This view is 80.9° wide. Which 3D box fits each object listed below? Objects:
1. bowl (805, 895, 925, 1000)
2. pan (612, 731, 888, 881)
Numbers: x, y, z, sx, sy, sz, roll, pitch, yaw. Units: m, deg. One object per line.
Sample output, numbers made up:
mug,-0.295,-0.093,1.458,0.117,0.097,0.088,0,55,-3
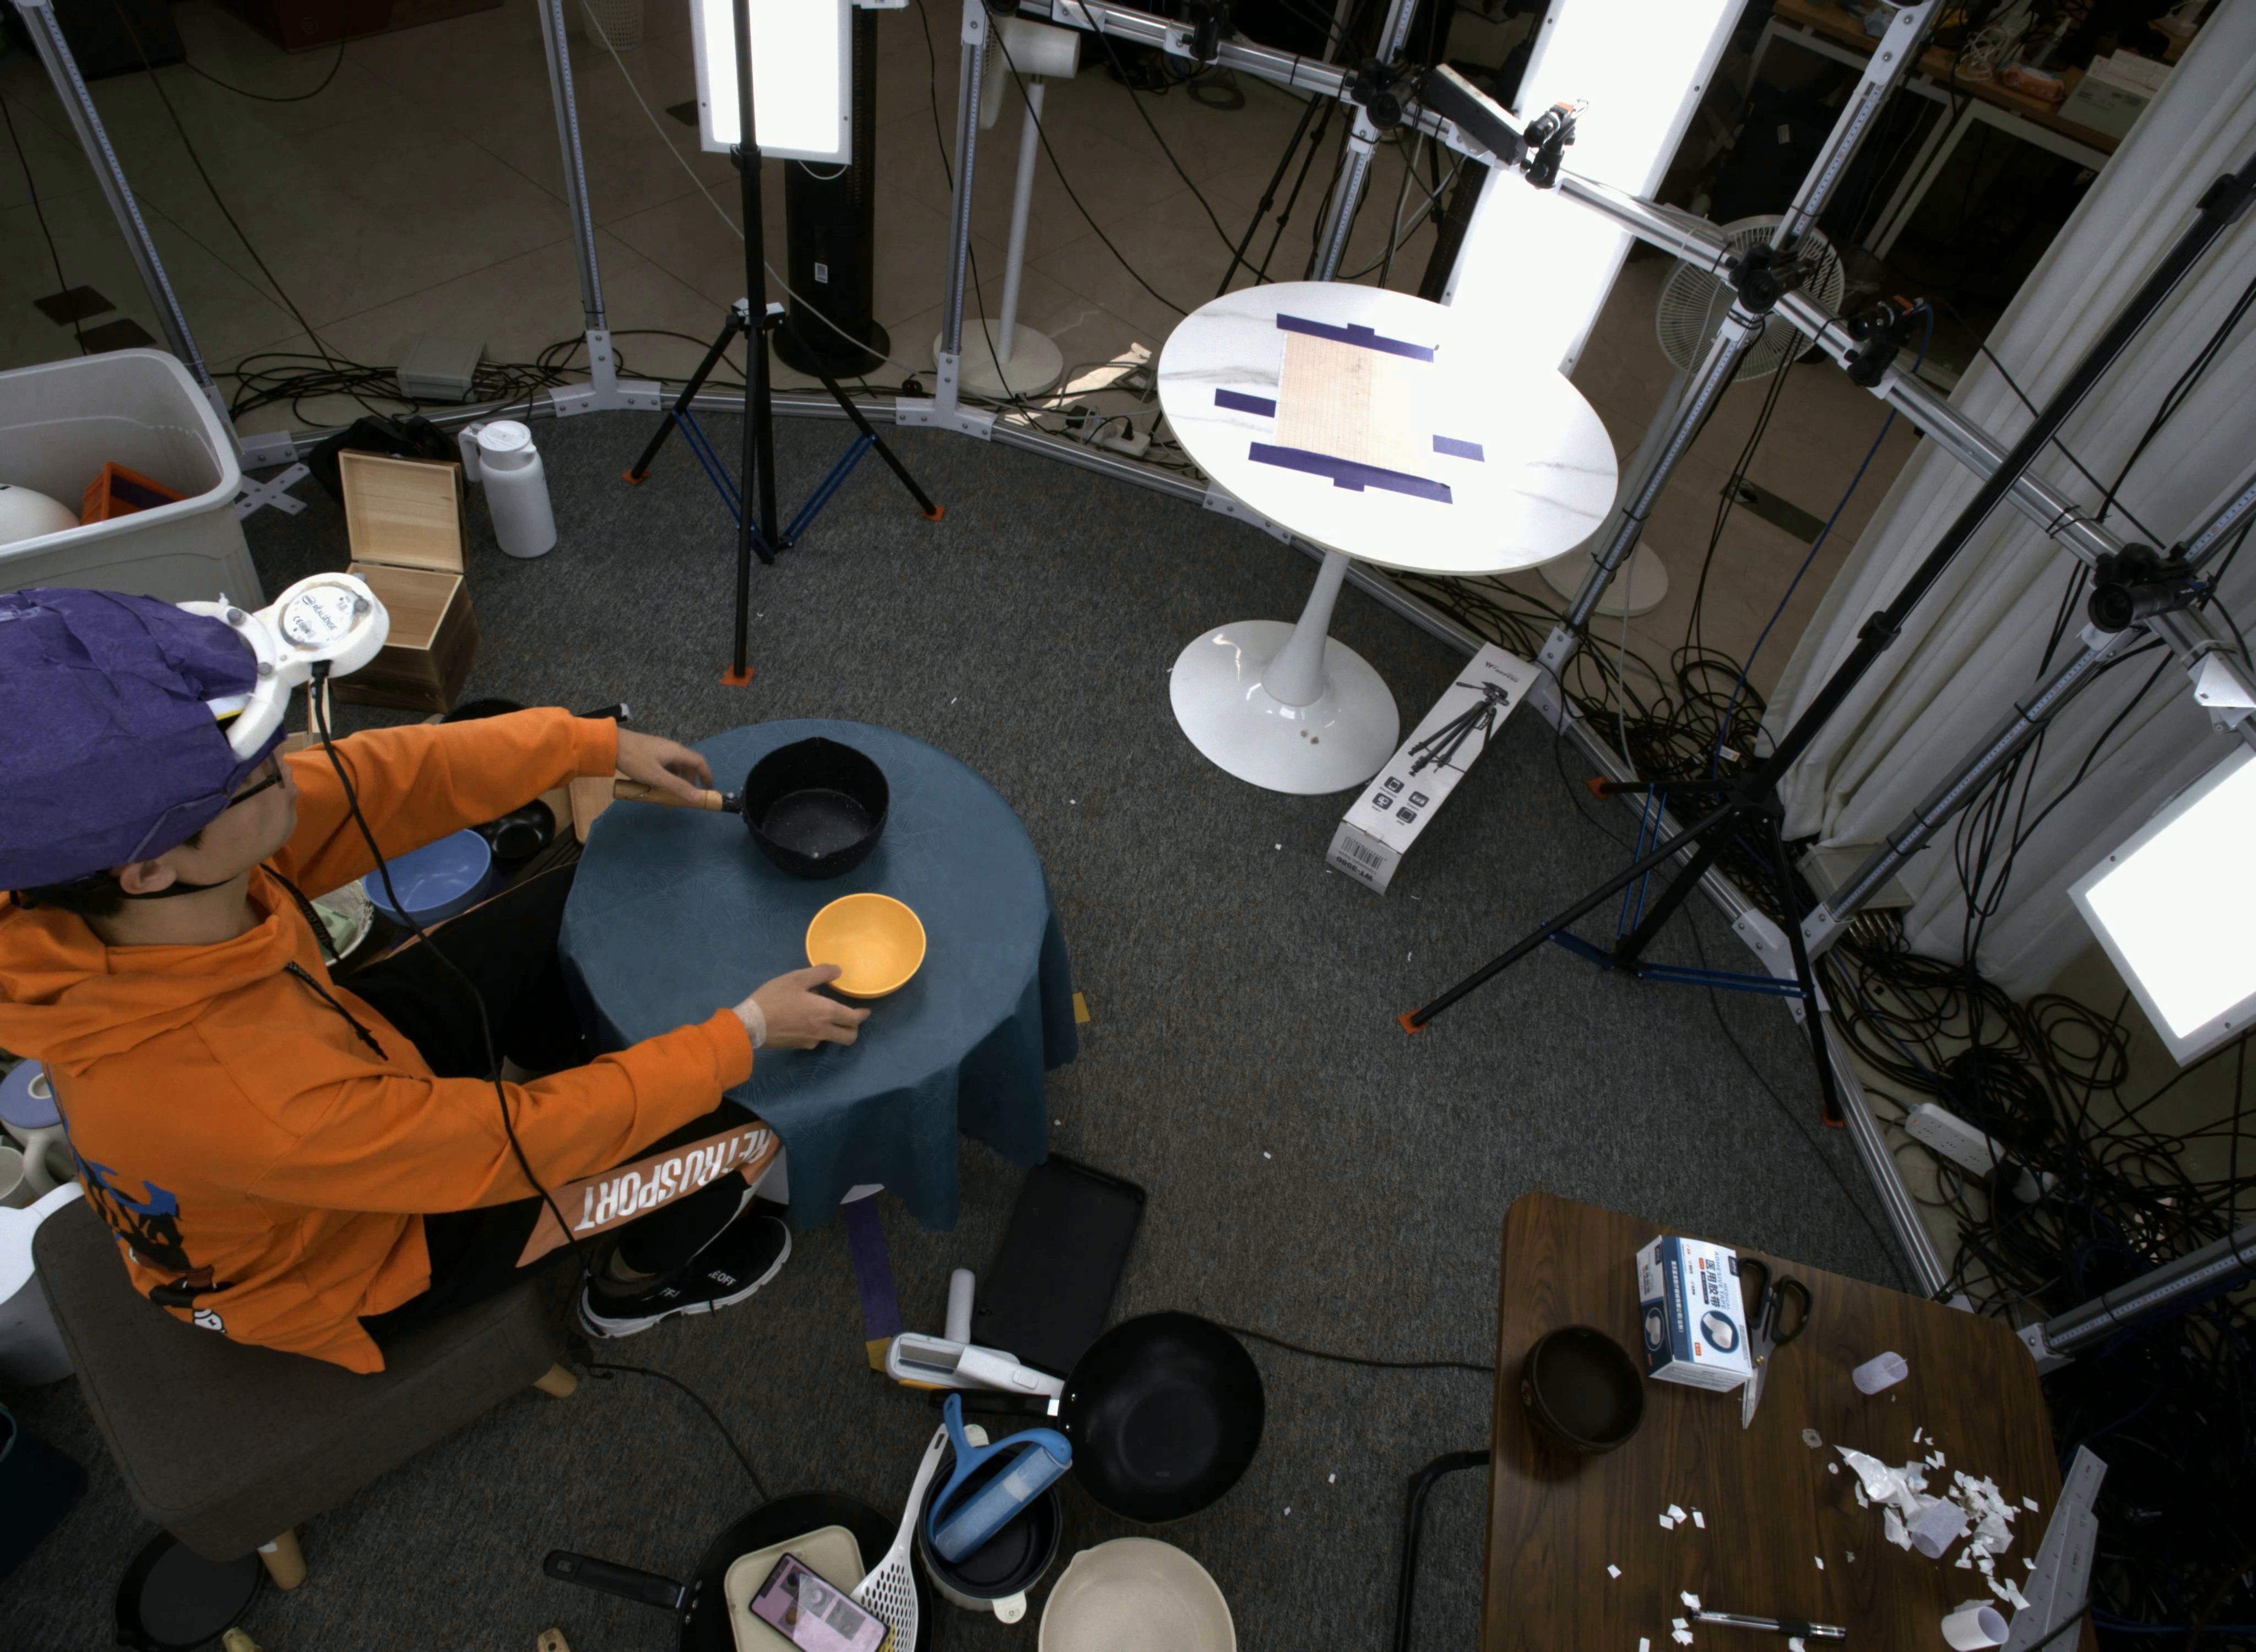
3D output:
bowl,-0.320,0.157,1.586,0.145,0.061,0.142,8,51,-8
pan,-0.479,-0.022,1.646,0.344,0.110,0.203,-1,55,-17
